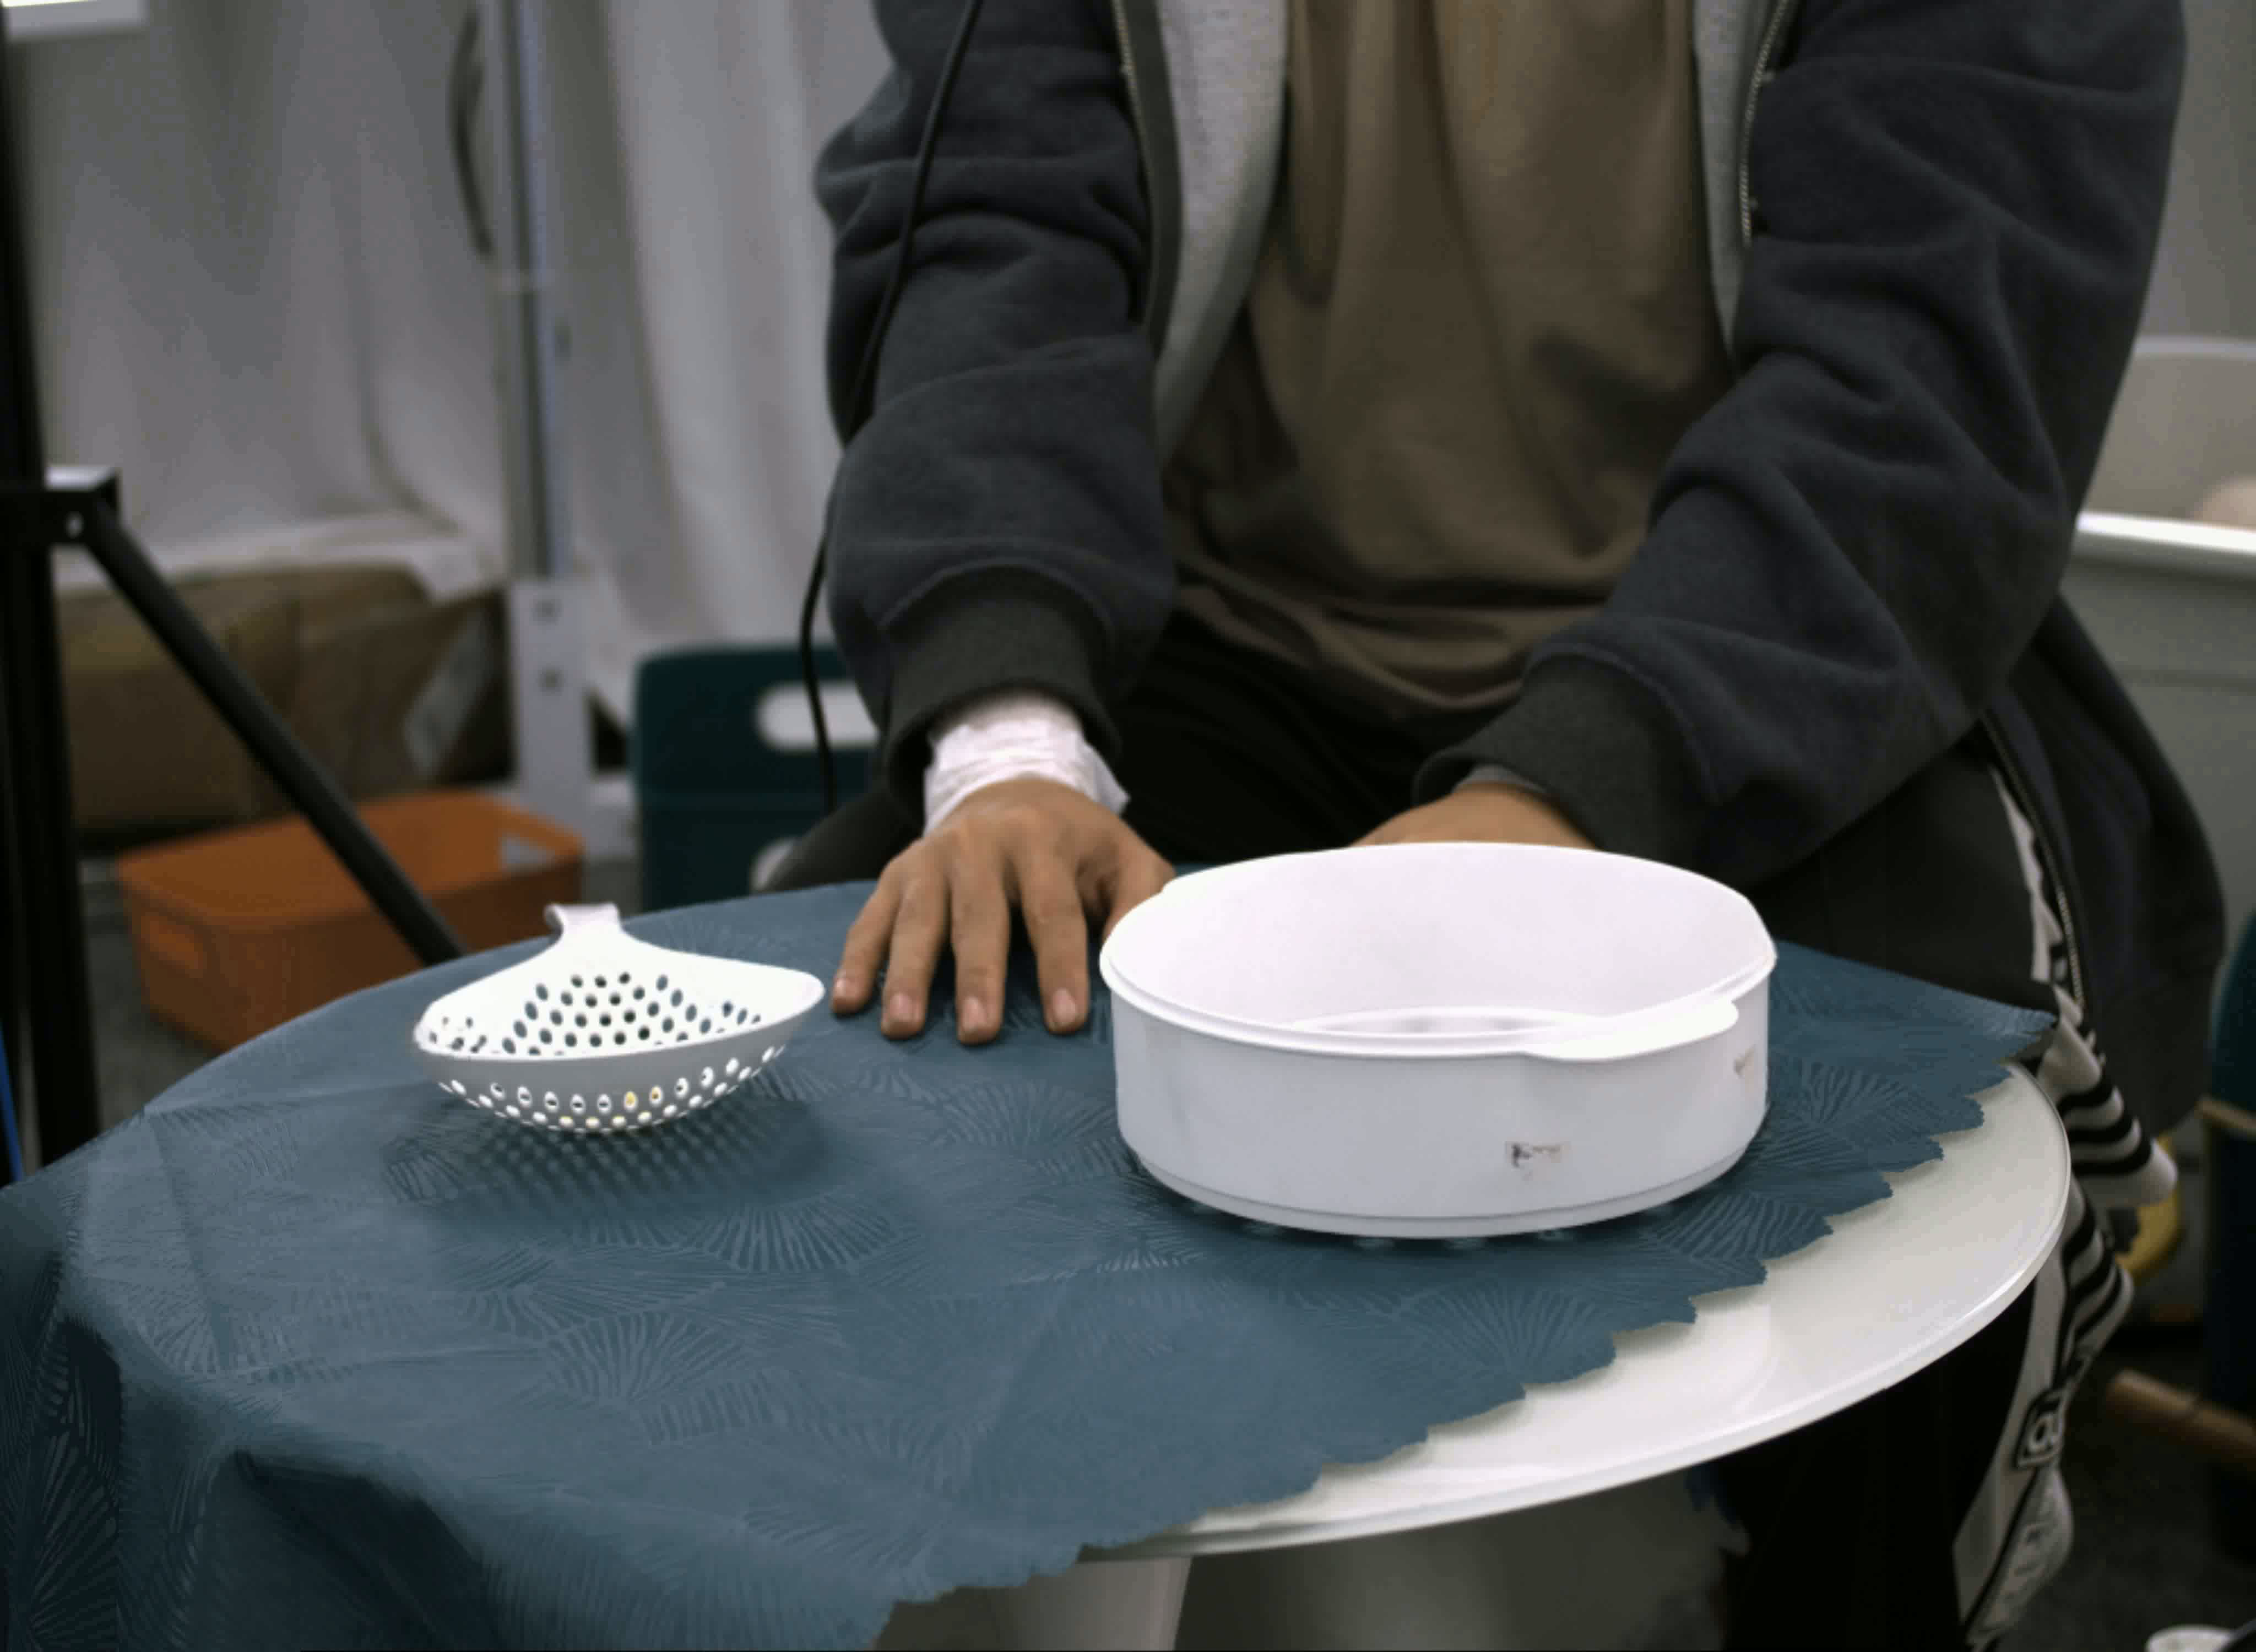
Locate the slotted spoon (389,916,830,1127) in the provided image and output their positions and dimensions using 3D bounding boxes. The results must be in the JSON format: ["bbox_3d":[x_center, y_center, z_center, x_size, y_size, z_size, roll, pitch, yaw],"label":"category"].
[{"bbox_3d":[-0.173,0.051,1.743,0.135,0.050,0.351,-10,12,-7],"label":"slotted spoon"}]

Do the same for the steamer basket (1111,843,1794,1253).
[{"bbox_3d":[0.096,0.065,1.572,0.197,0.069,0.236,-11,20,-29],"label":"steamer basket"}]
